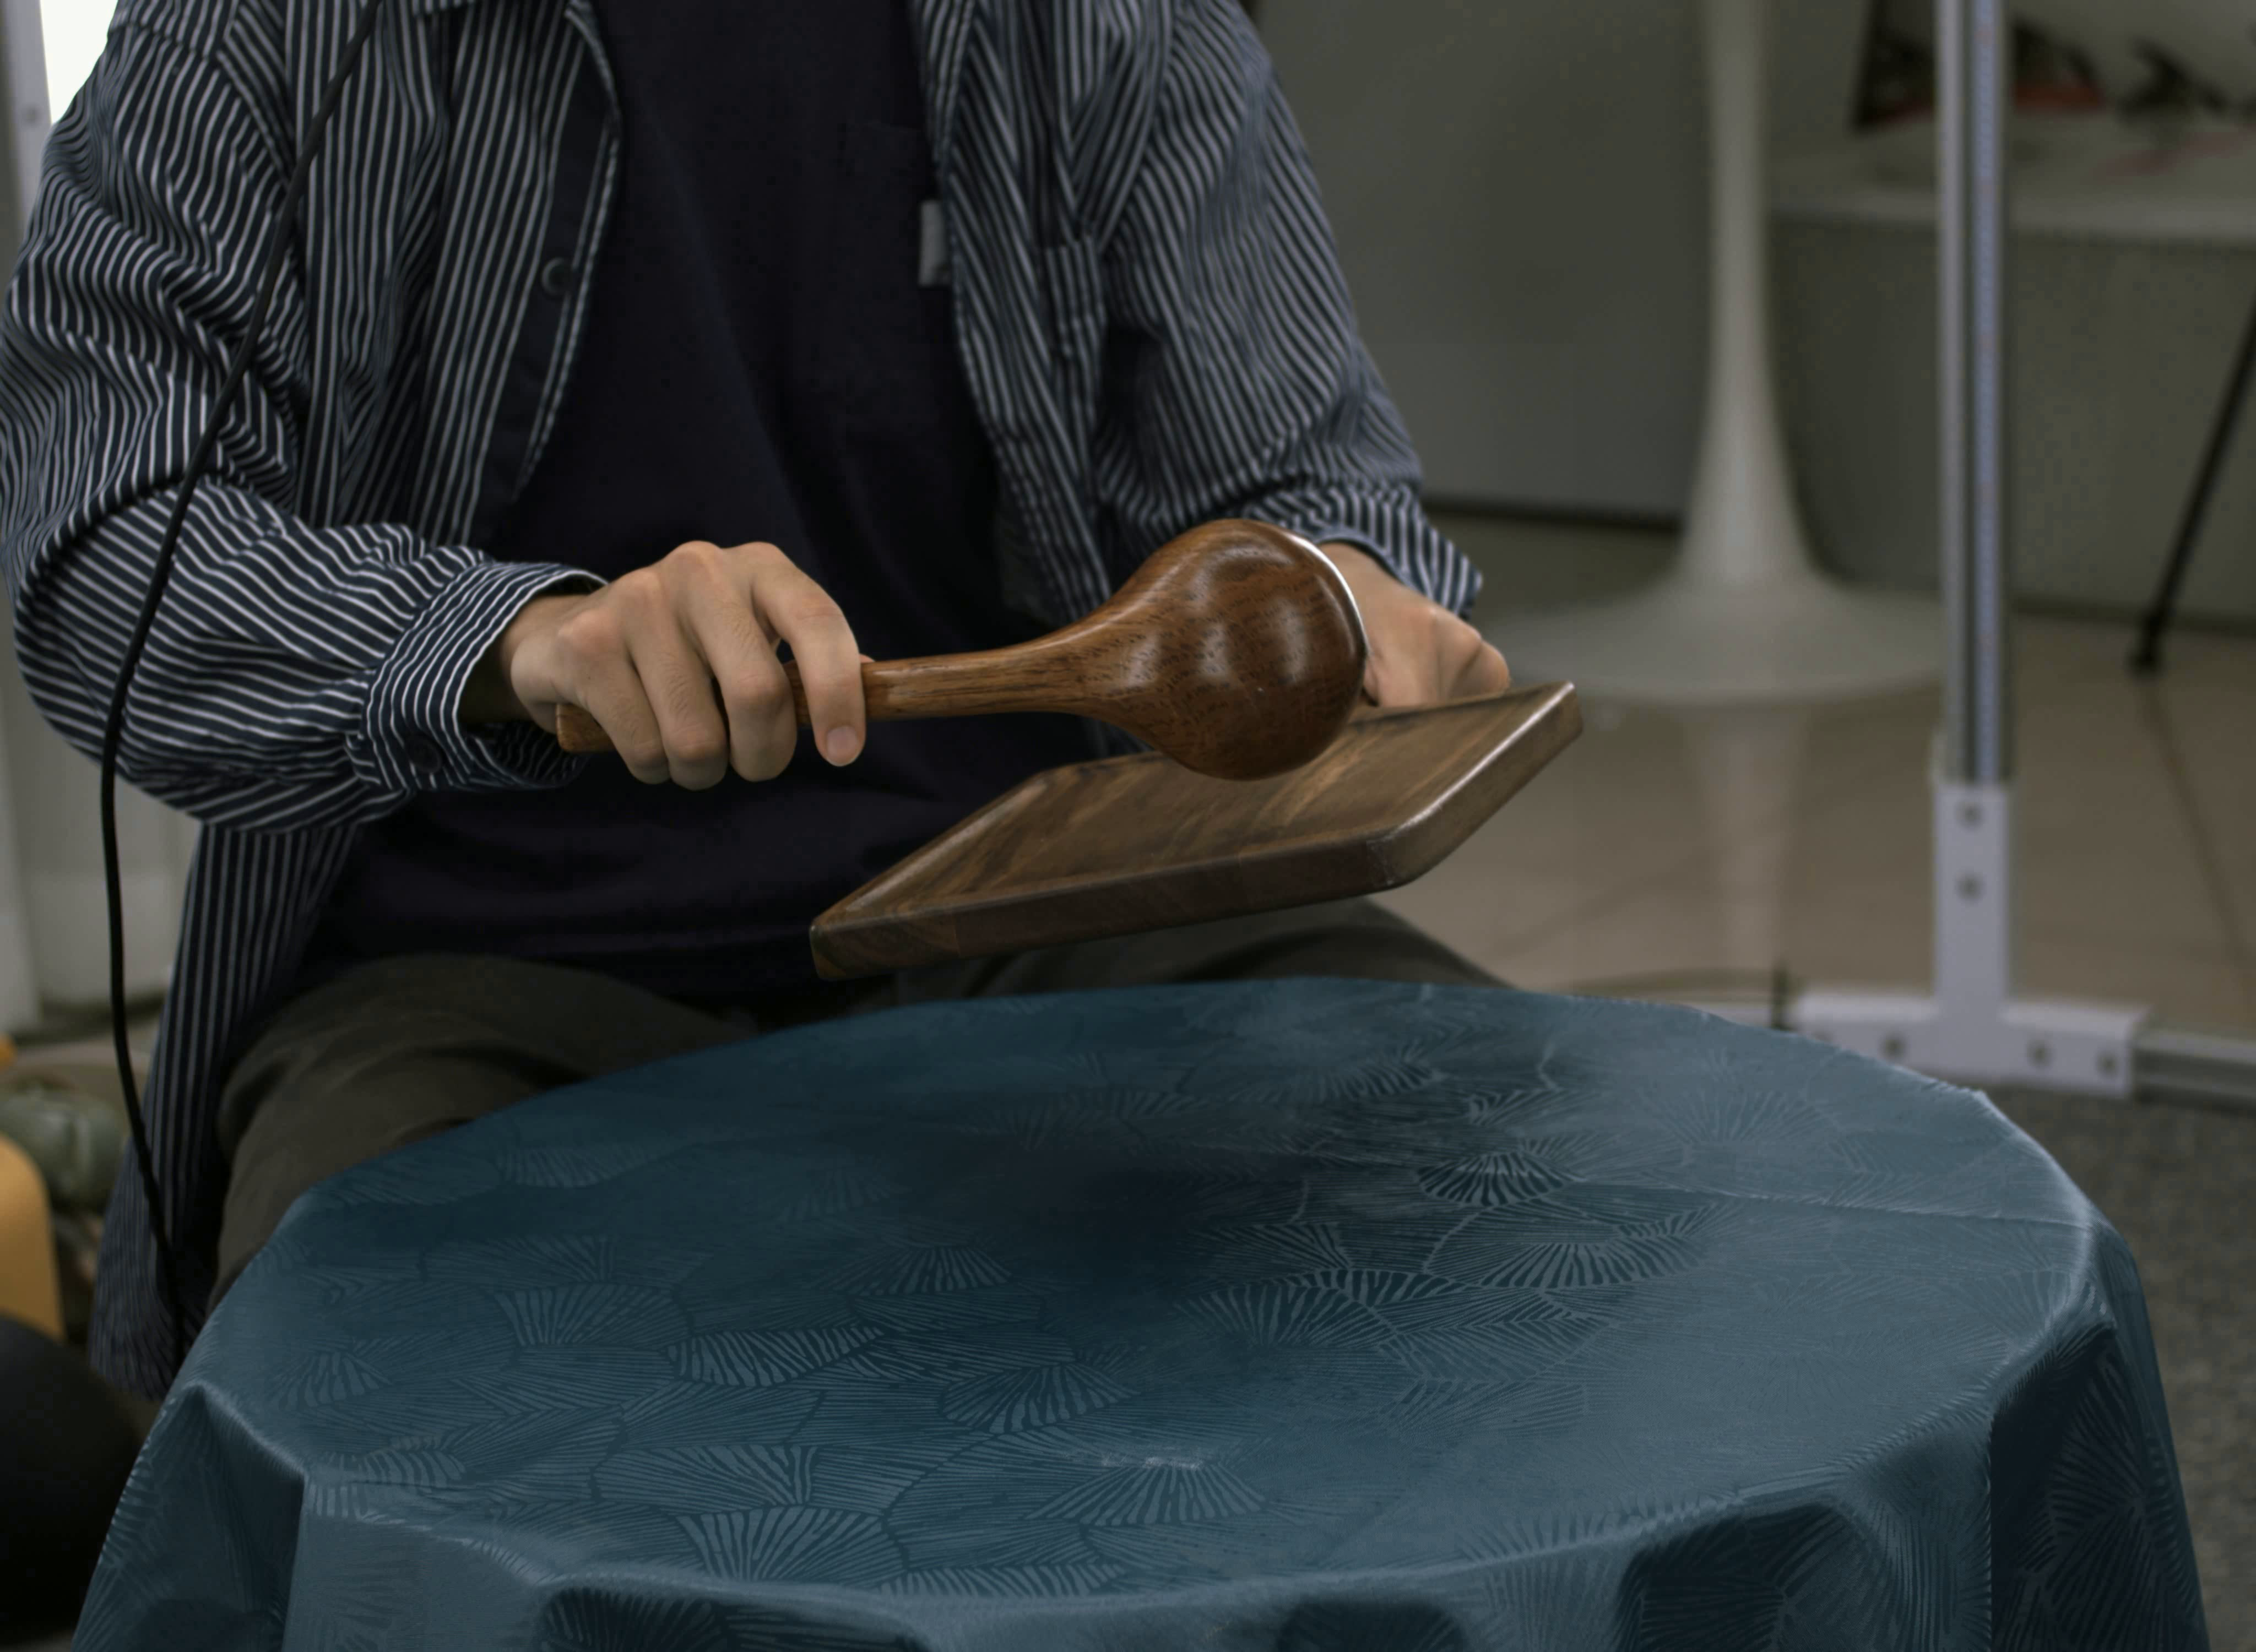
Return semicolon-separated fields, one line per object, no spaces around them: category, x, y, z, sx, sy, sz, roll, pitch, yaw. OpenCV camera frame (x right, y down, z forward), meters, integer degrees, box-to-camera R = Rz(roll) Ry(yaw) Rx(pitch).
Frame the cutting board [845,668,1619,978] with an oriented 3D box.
cutting board;0.053;-0.012;1.757;0.201;0.023;0.349;-11;8;20

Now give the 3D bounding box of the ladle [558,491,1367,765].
ladle;-0.053;-0.050;1.704;0.275;0.083;0.075;-8;-5;34
